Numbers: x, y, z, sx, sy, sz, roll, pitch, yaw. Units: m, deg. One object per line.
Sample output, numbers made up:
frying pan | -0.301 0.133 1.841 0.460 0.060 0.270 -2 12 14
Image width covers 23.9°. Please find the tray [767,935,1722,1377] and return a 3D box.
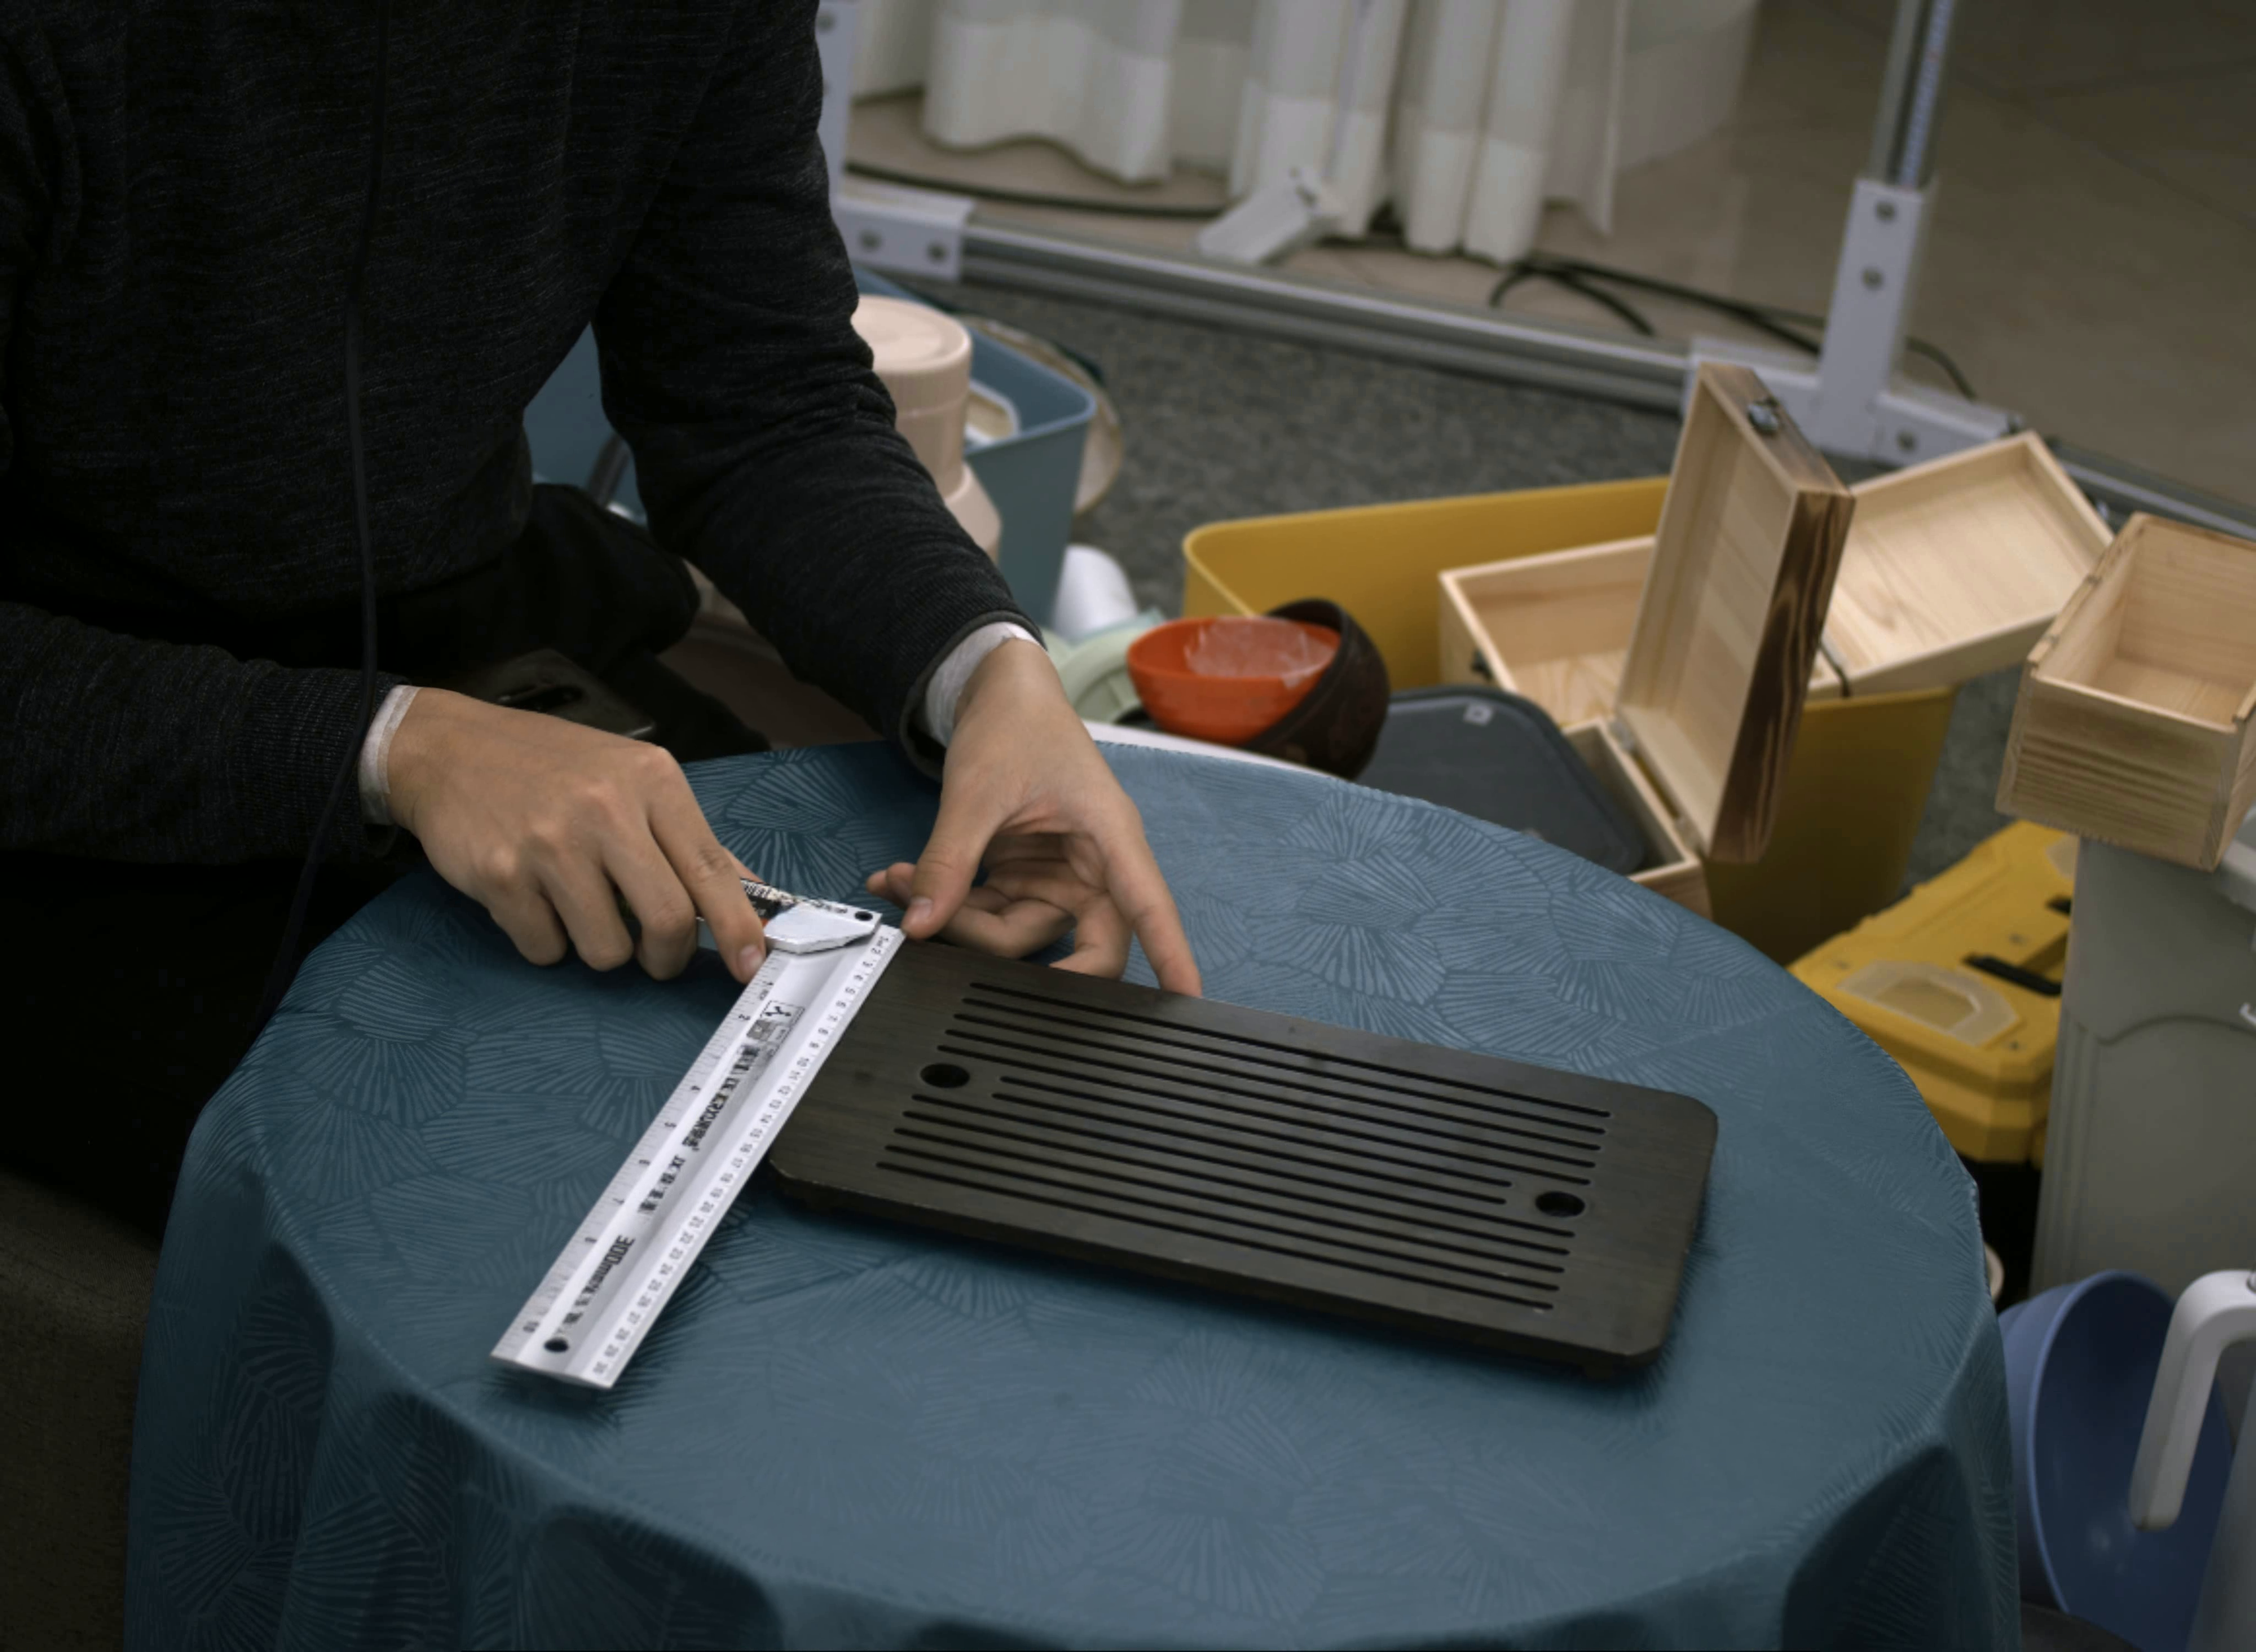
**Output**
tray | 0.043 0.111 1.812 0.306 0.018 0.170 11 29 10

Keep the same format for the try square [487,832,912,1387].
try square | -0.189 0.089 1.790 0.152 0.016 0.313 12 29 12
